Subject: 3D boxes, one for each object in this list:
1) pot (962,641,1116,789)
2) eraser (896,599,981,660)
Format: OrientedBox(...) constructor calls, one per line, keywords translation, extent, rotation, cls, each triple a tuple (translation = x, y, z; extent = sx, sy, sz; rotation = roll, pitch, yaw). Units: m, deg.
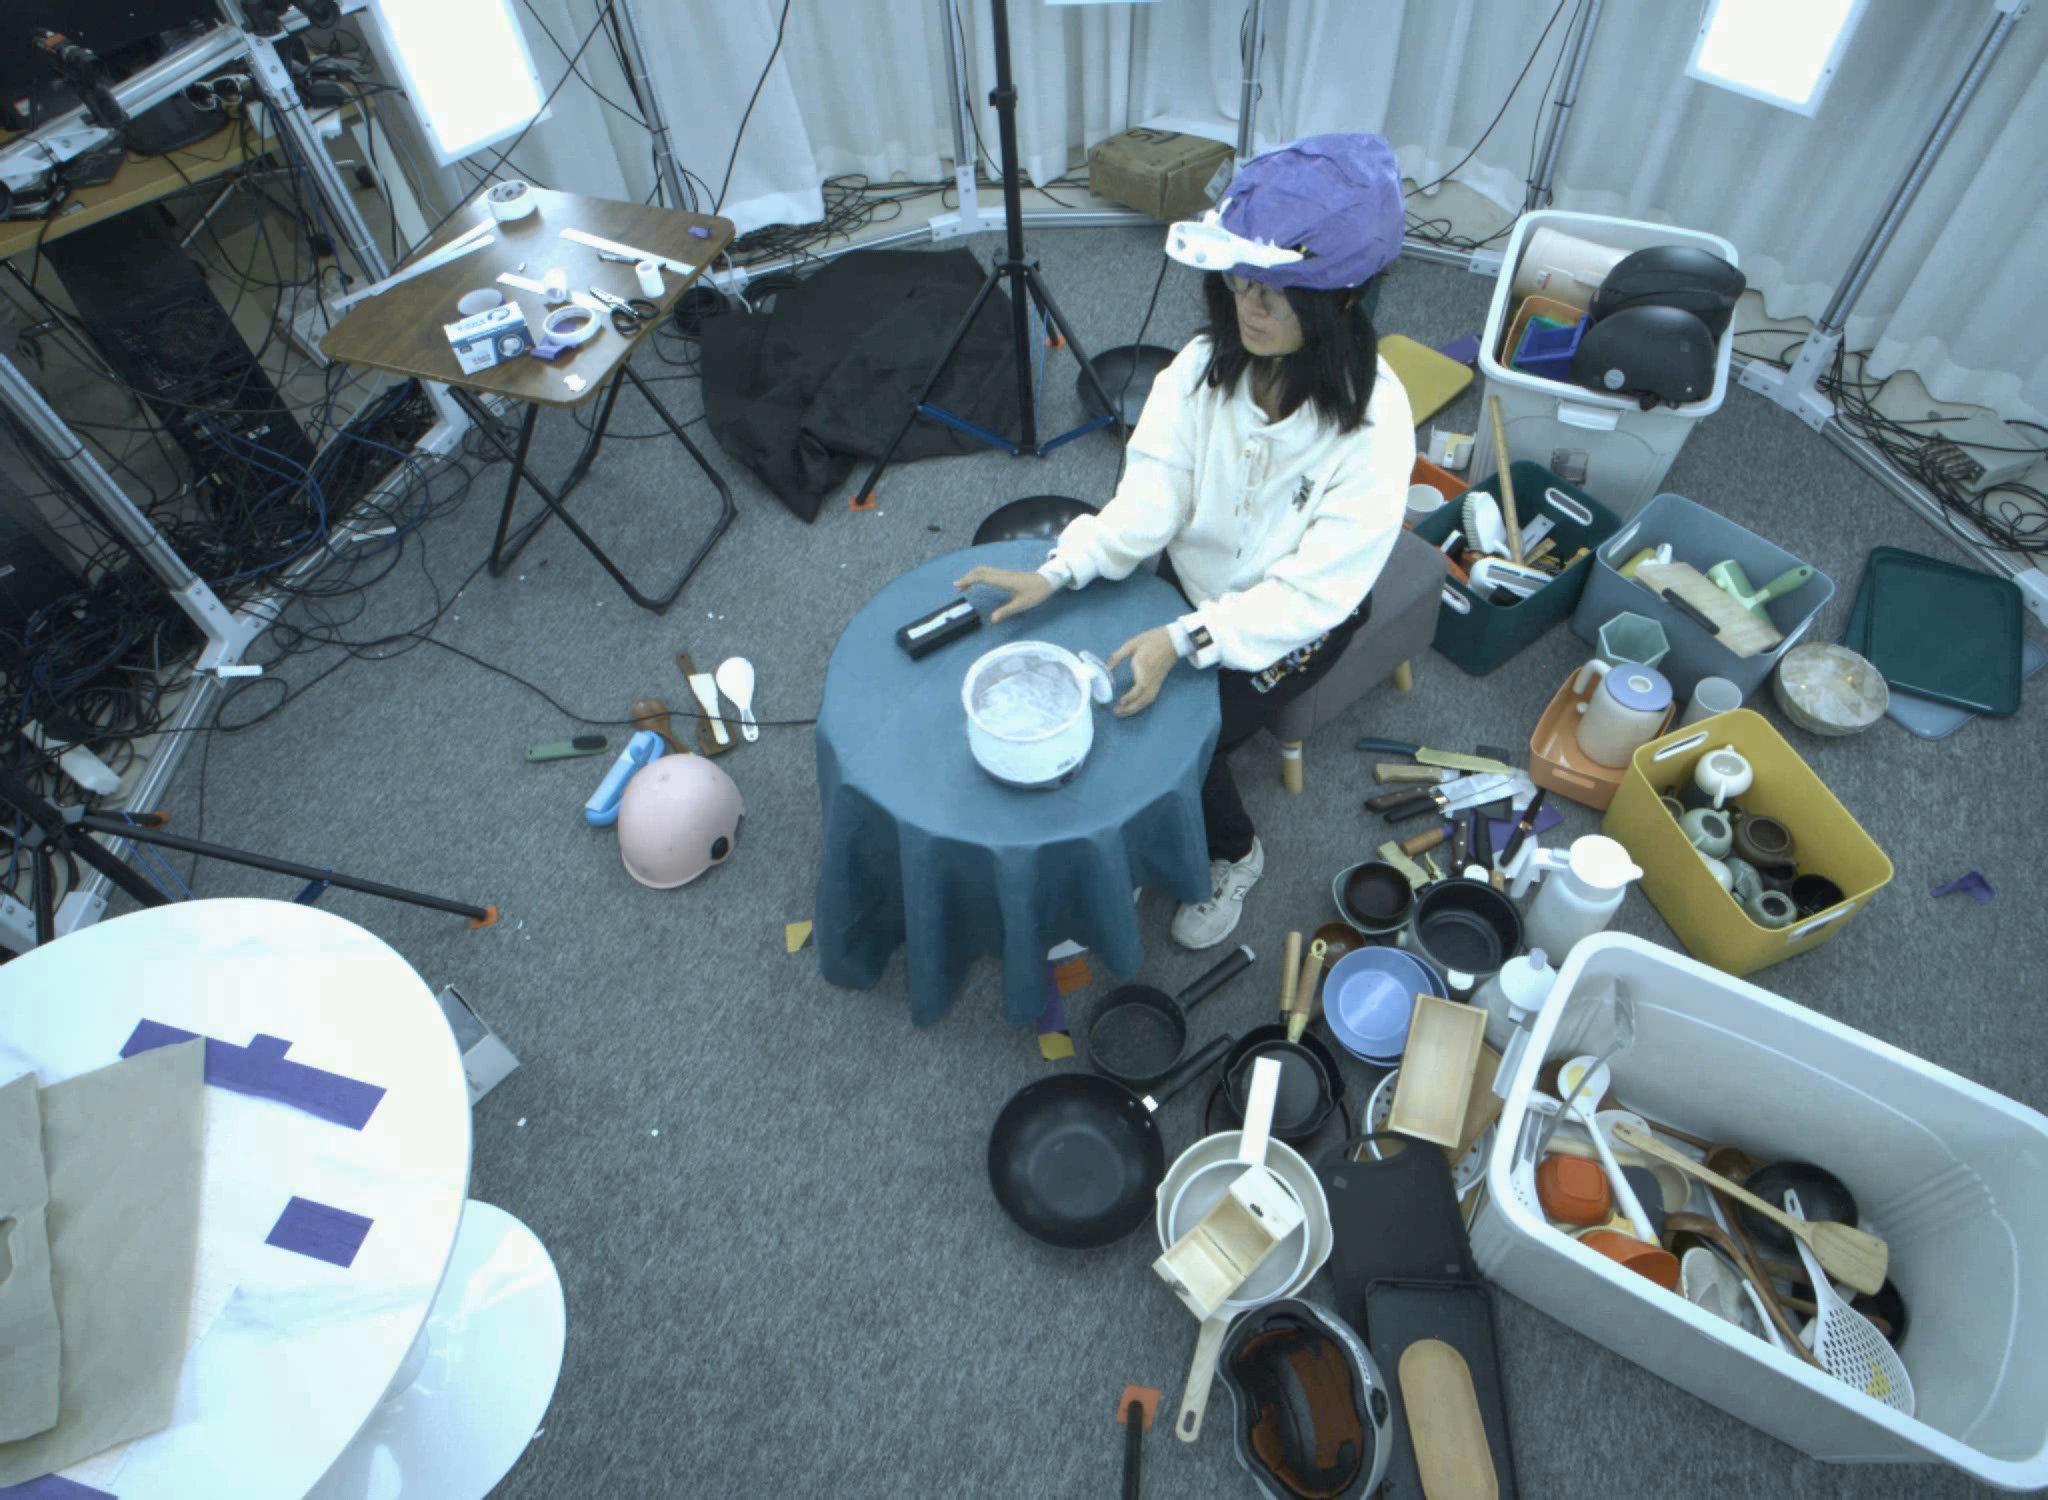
OrientedBox(translation=(0.029, -0.060, 1.744), extent=(0.235, 0.138, 0.175), rotation=(-33, 60, -19), cls="pot")
OrientedBox(translation=(-0.133, -0.189, 1.909), extent=(0.126, 0.031, 0.052), rotation=(-28, 59, -18), cls="eraser")
